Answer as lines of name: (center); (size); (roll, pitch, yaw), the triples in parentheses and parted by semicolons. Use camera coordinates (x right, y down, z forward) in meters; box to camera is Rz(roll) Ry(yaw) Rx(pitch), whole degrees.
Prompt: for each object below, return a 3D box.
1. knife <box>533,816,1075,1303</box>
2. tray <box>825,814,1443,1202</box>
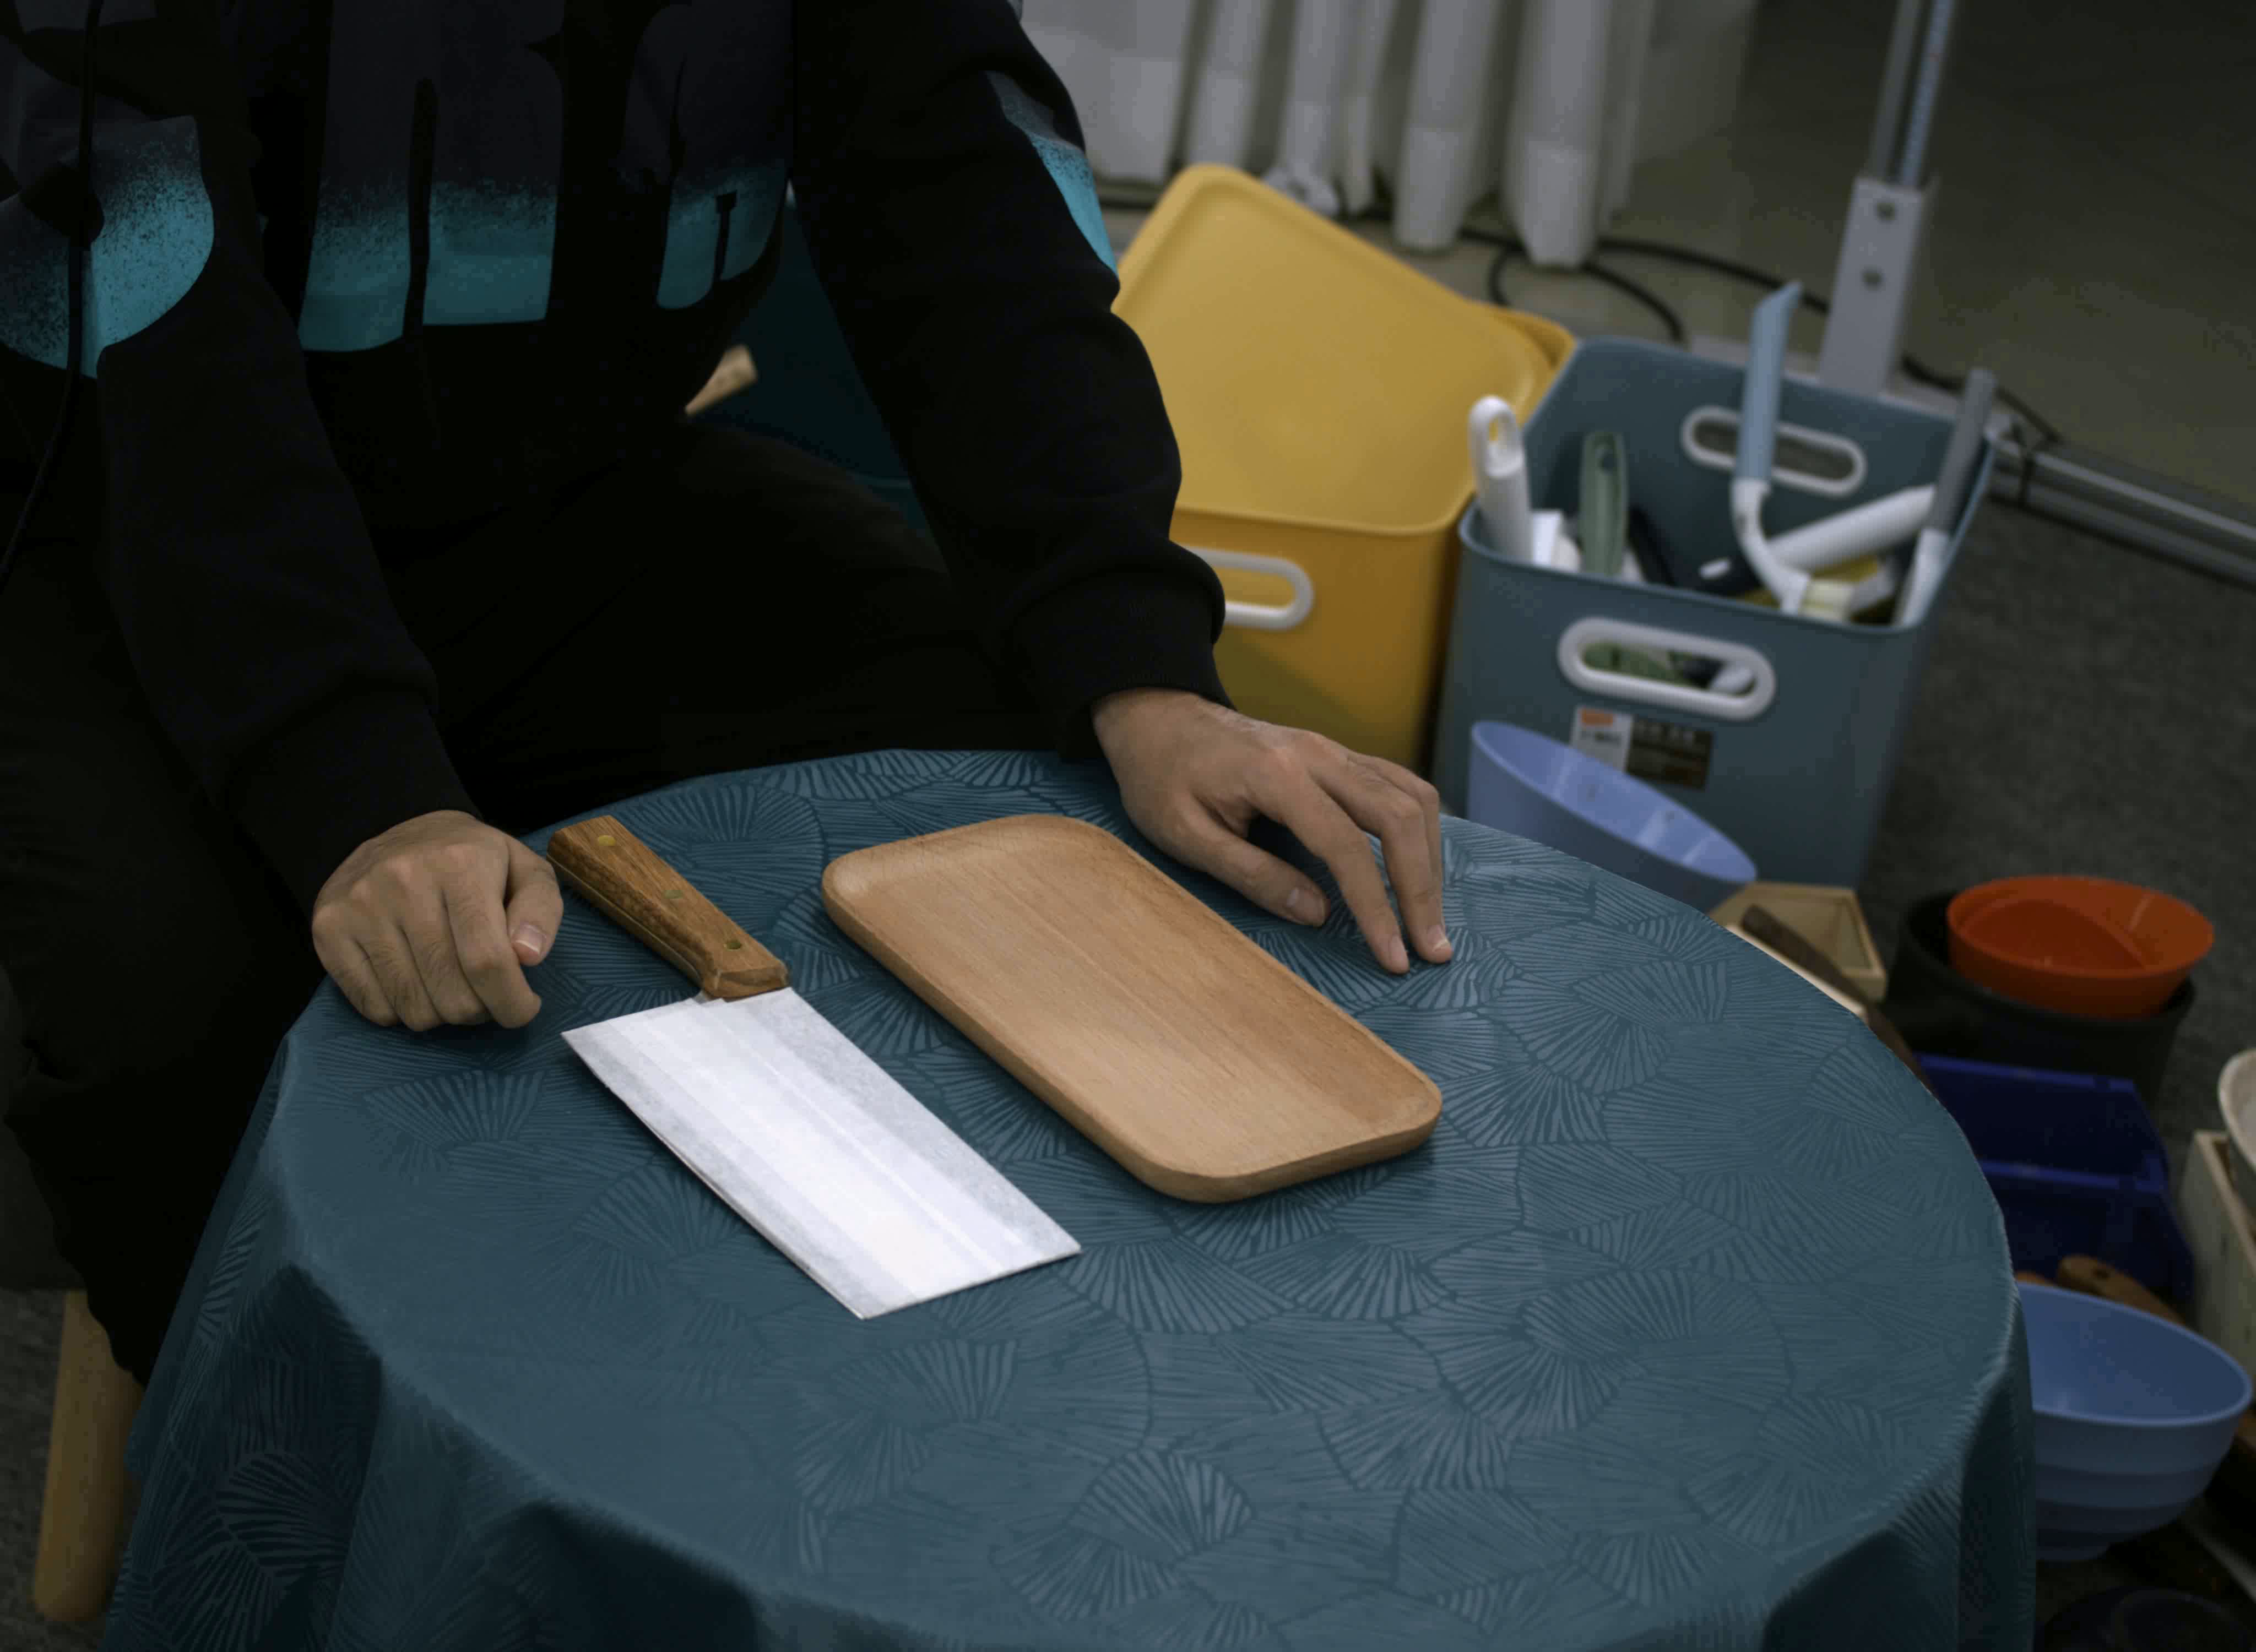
knife: (-0.138, 0.080, 1.841); (0.092, 0.021, 0.308); (-15, 36, -33)
tray: (-0.001, 0.062, 1.905); (0.129, 0.023, 0.253); (-9, 30, -32)
